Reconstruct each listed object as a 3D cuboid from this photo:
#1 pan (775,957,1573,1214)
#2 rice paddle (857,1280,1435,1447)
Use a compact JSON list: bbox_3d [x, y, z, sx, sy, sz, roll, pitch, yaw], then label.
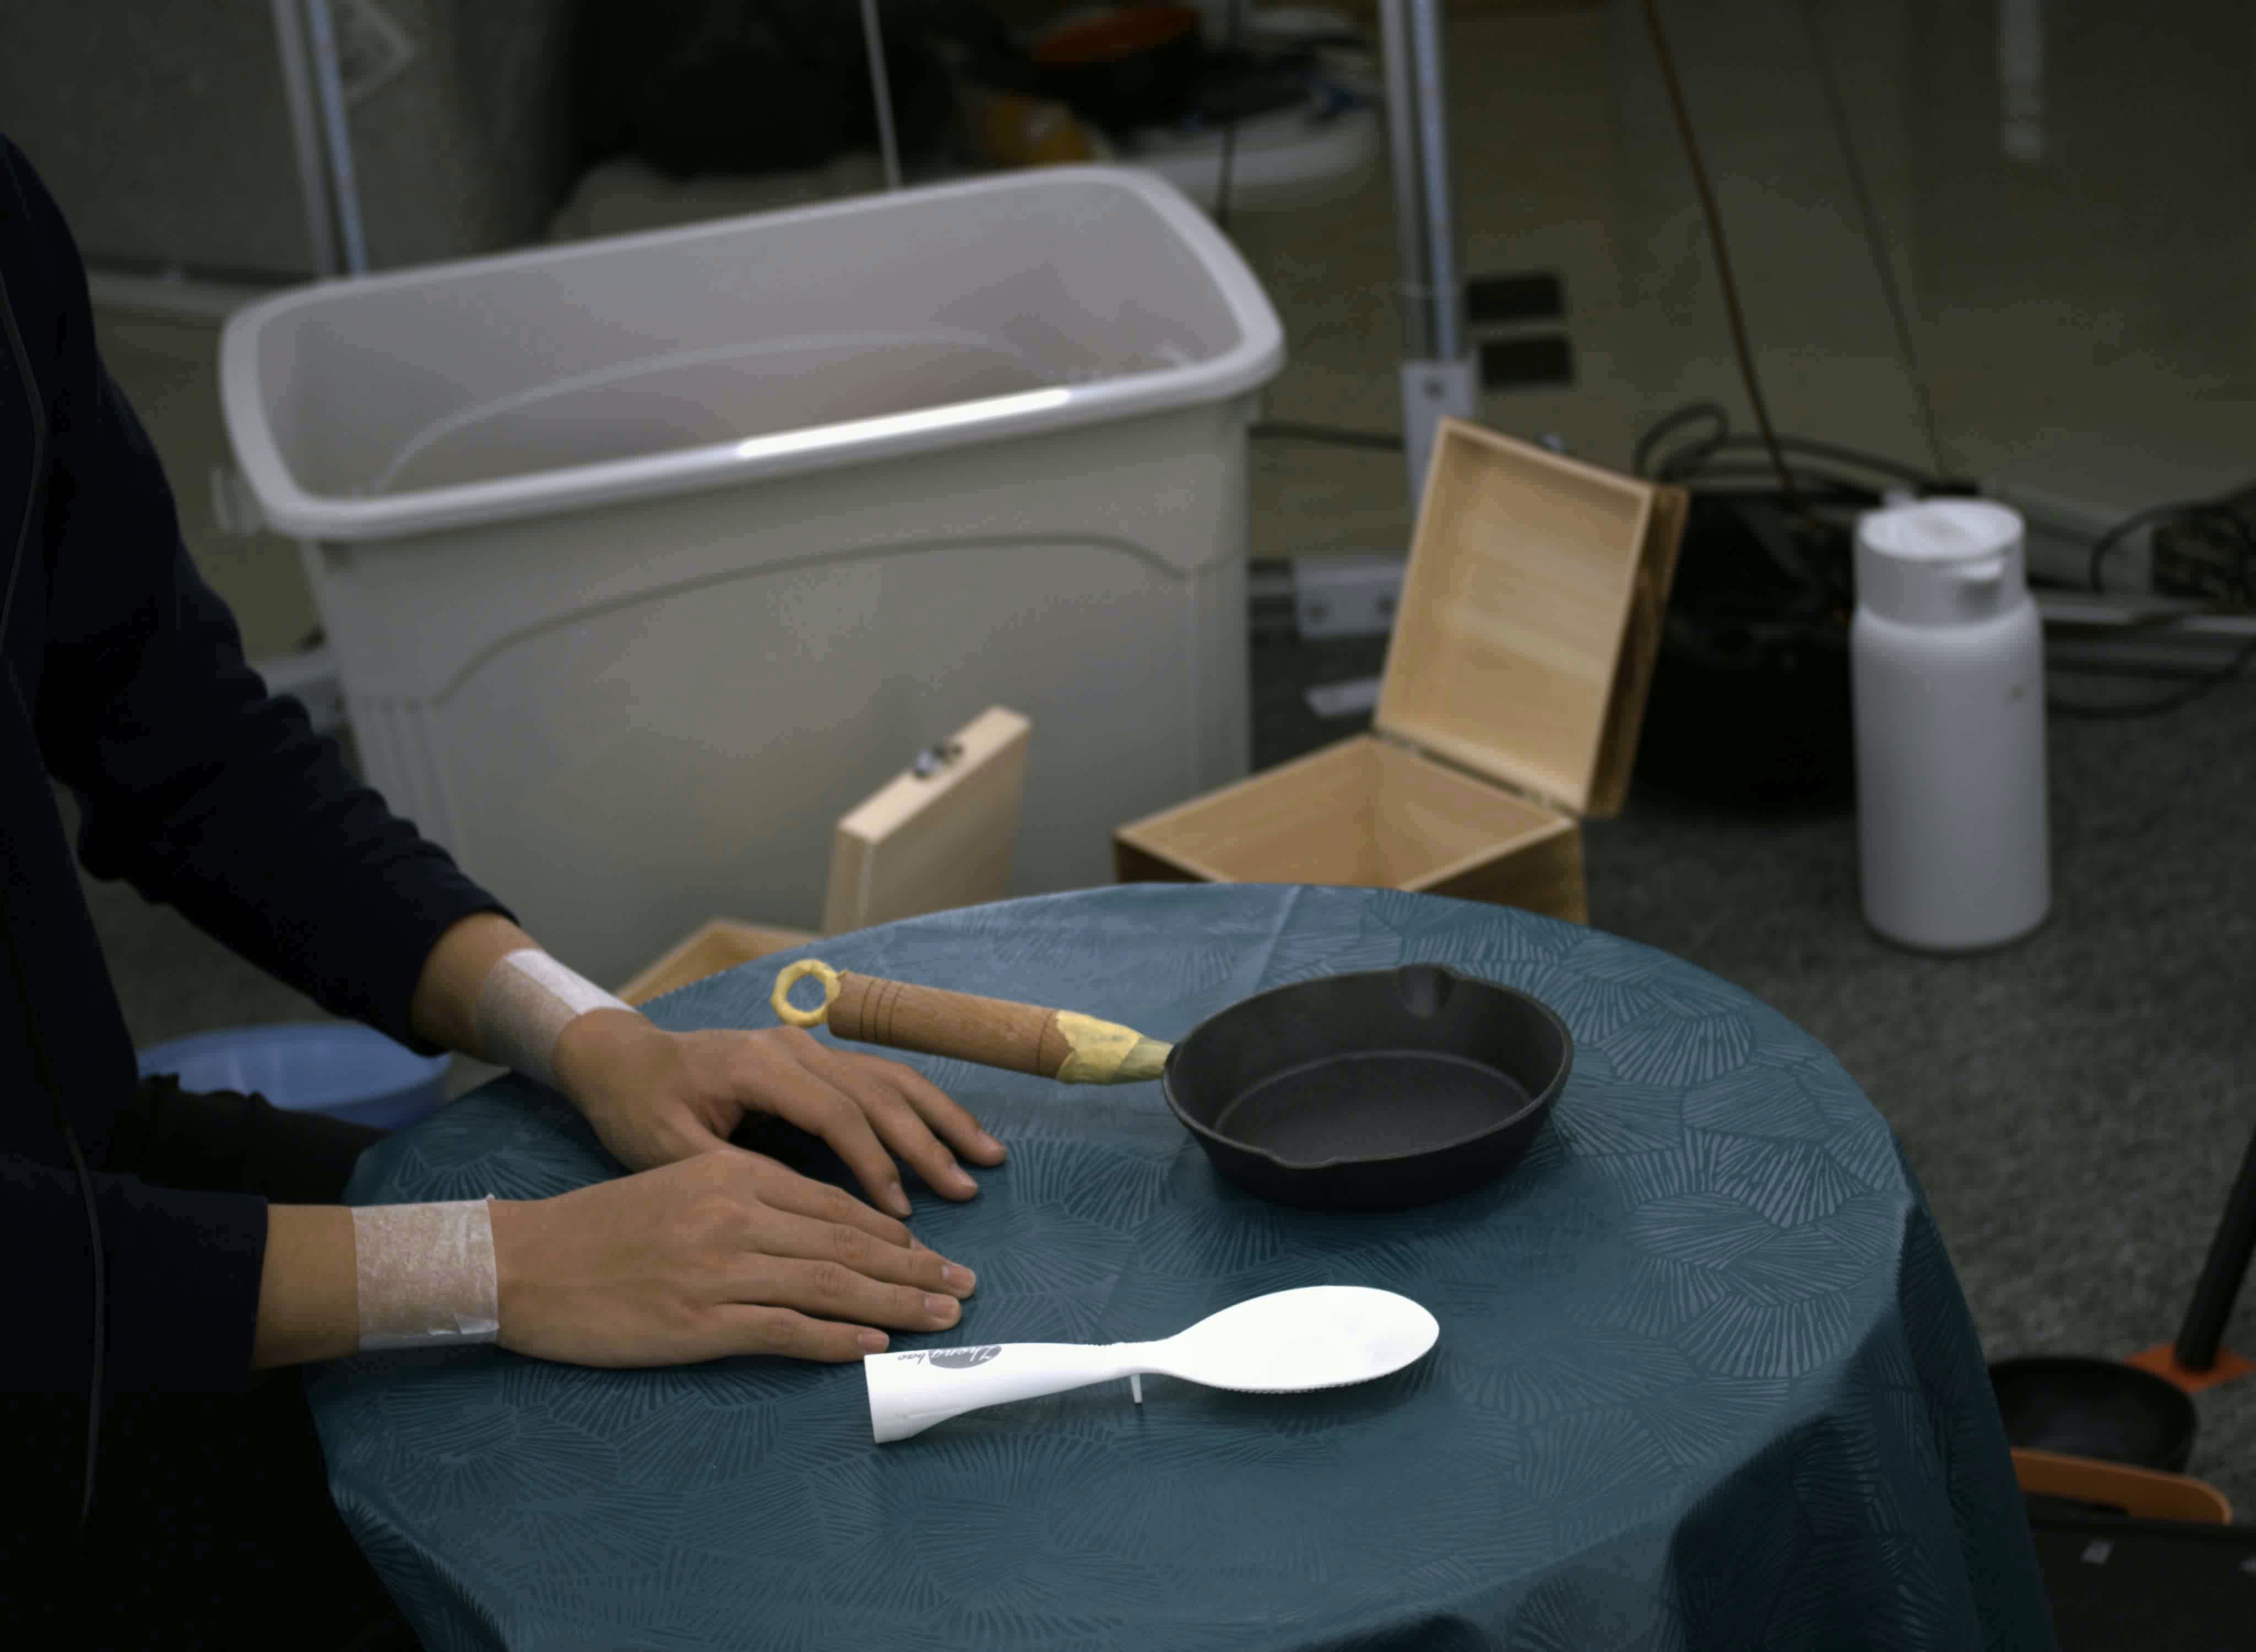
[{"bbox_3d":[0.014,0.090,2.188,0.323,0.050,0.166,6,28,22],"label":"pan"},{"bbox_3d":[0.007,0.188,2.006,0.205,0.030,0.068,-8,27,-3],"label":"rice paddle"}]
